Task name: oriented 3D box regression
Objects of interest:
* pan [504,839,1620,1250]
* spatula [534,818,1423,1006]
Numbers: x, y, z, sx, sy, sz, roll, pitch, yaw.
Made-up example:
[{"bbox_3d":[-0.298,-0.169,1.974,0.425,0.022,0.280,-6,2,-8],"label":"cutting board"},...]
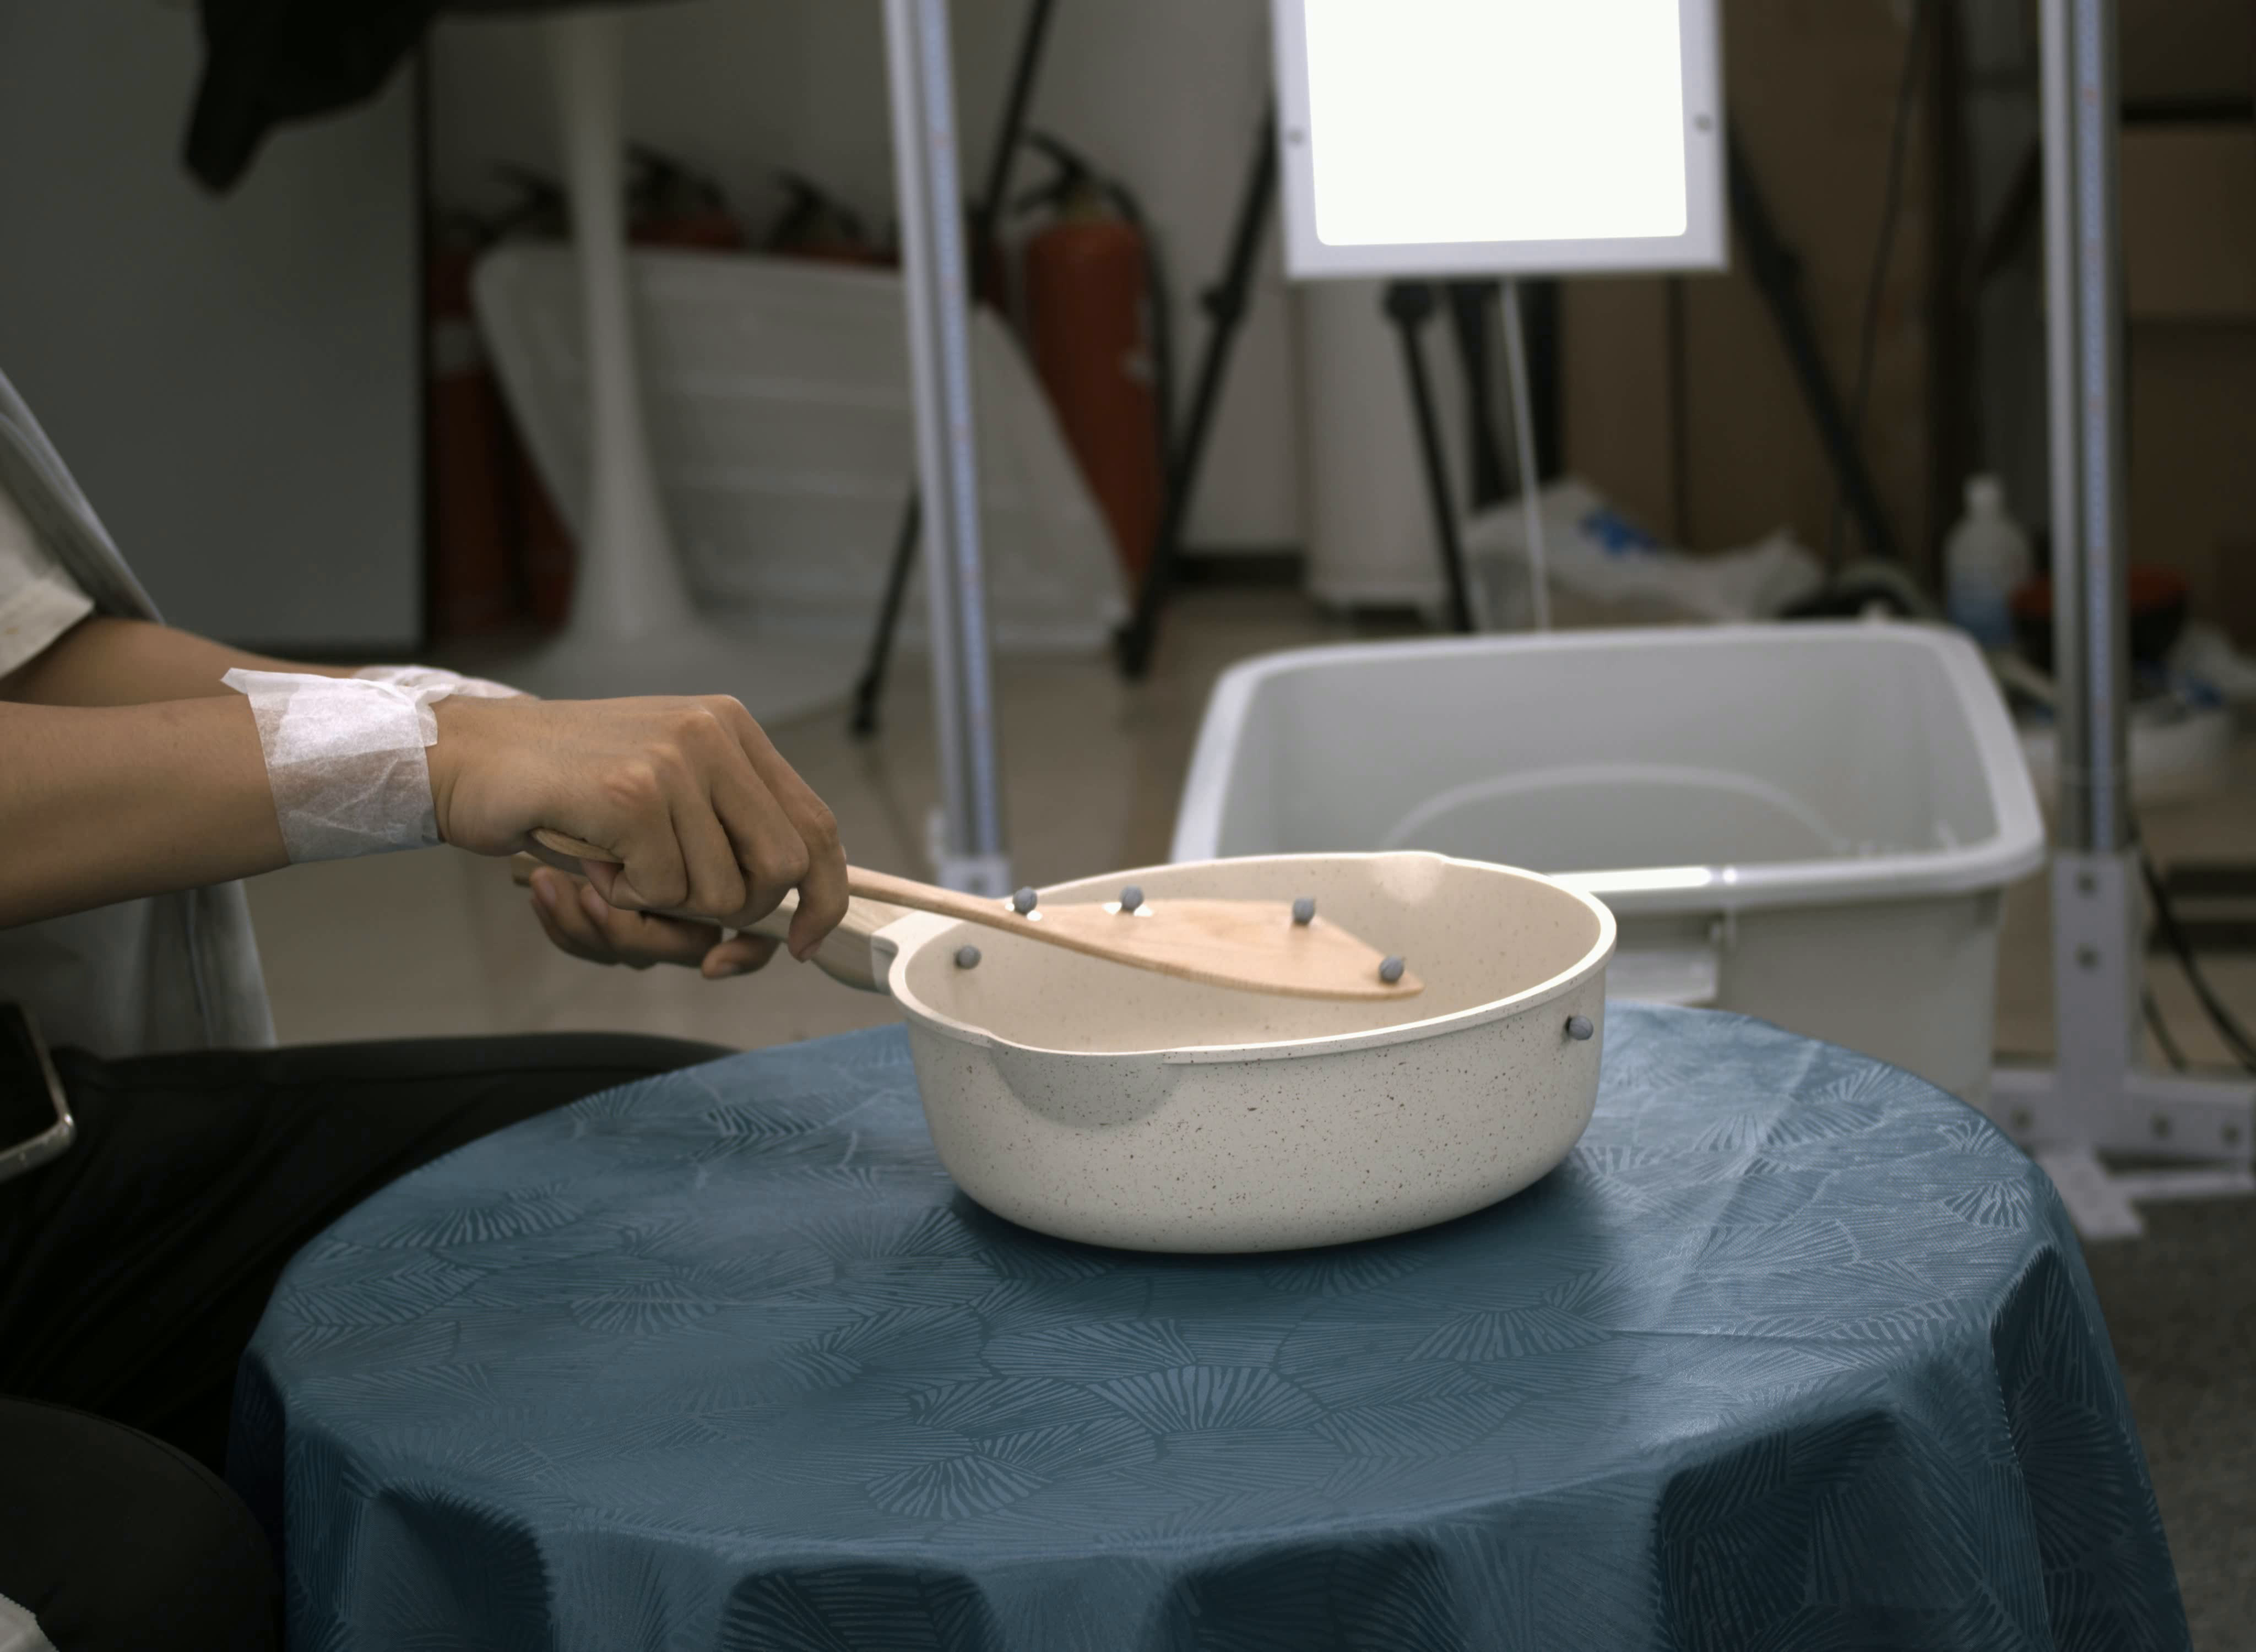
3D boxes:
[{"bbox_3d":[-0.033,0.065,1.948,0.443,0.102,0.257,3,17,31],"label":"pan"},{"bbox_3d":[-0.051,0.025,1.827,0.320,0.016,0.081,11,15,-31],"label":"spatula"}]
